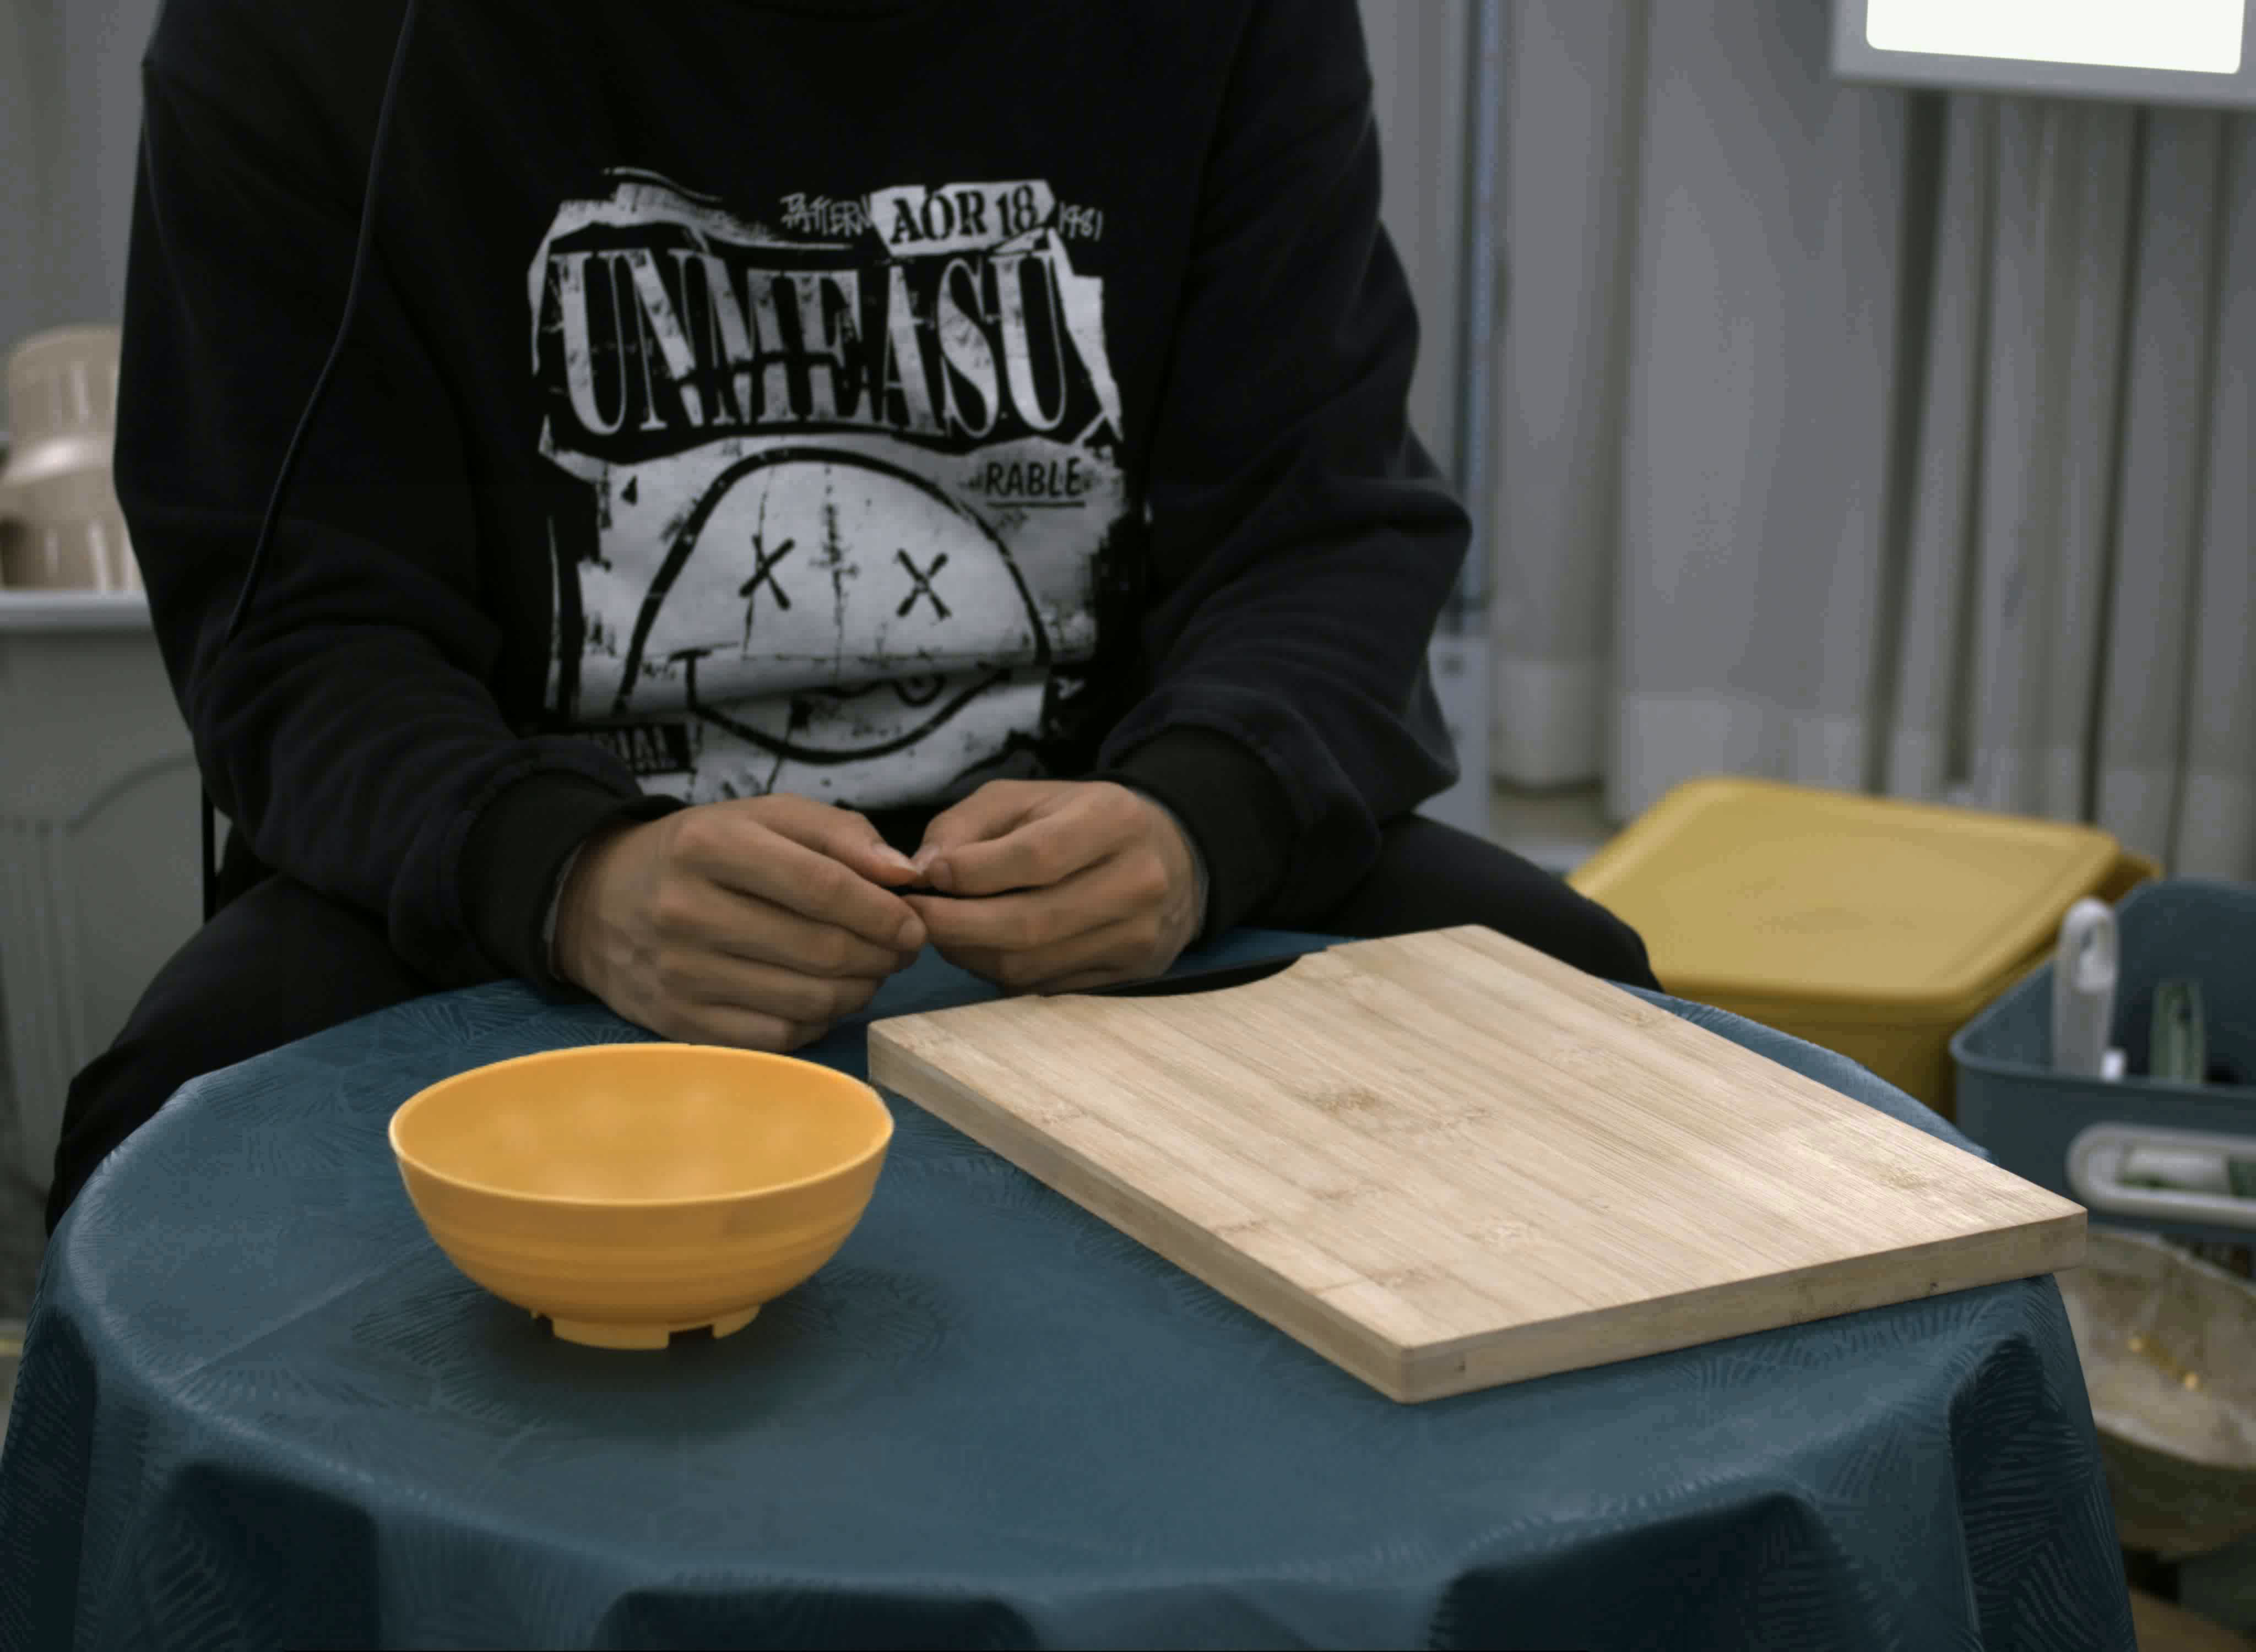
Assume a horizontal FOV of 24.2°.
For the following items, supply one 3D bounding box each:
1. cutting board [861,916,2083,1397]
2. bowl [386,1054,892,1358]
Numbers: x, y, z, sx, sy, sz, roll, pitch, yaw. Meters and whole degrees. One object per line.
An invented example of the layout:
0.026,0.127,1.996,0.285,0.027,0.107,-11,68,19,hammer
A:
0.098,0.097,1.656,0.252,0.024,0.344,-8,18,-29,cutting board
-0.141,0.114,1.513,0.145,0.060,0.144,3,14,0,bowl
